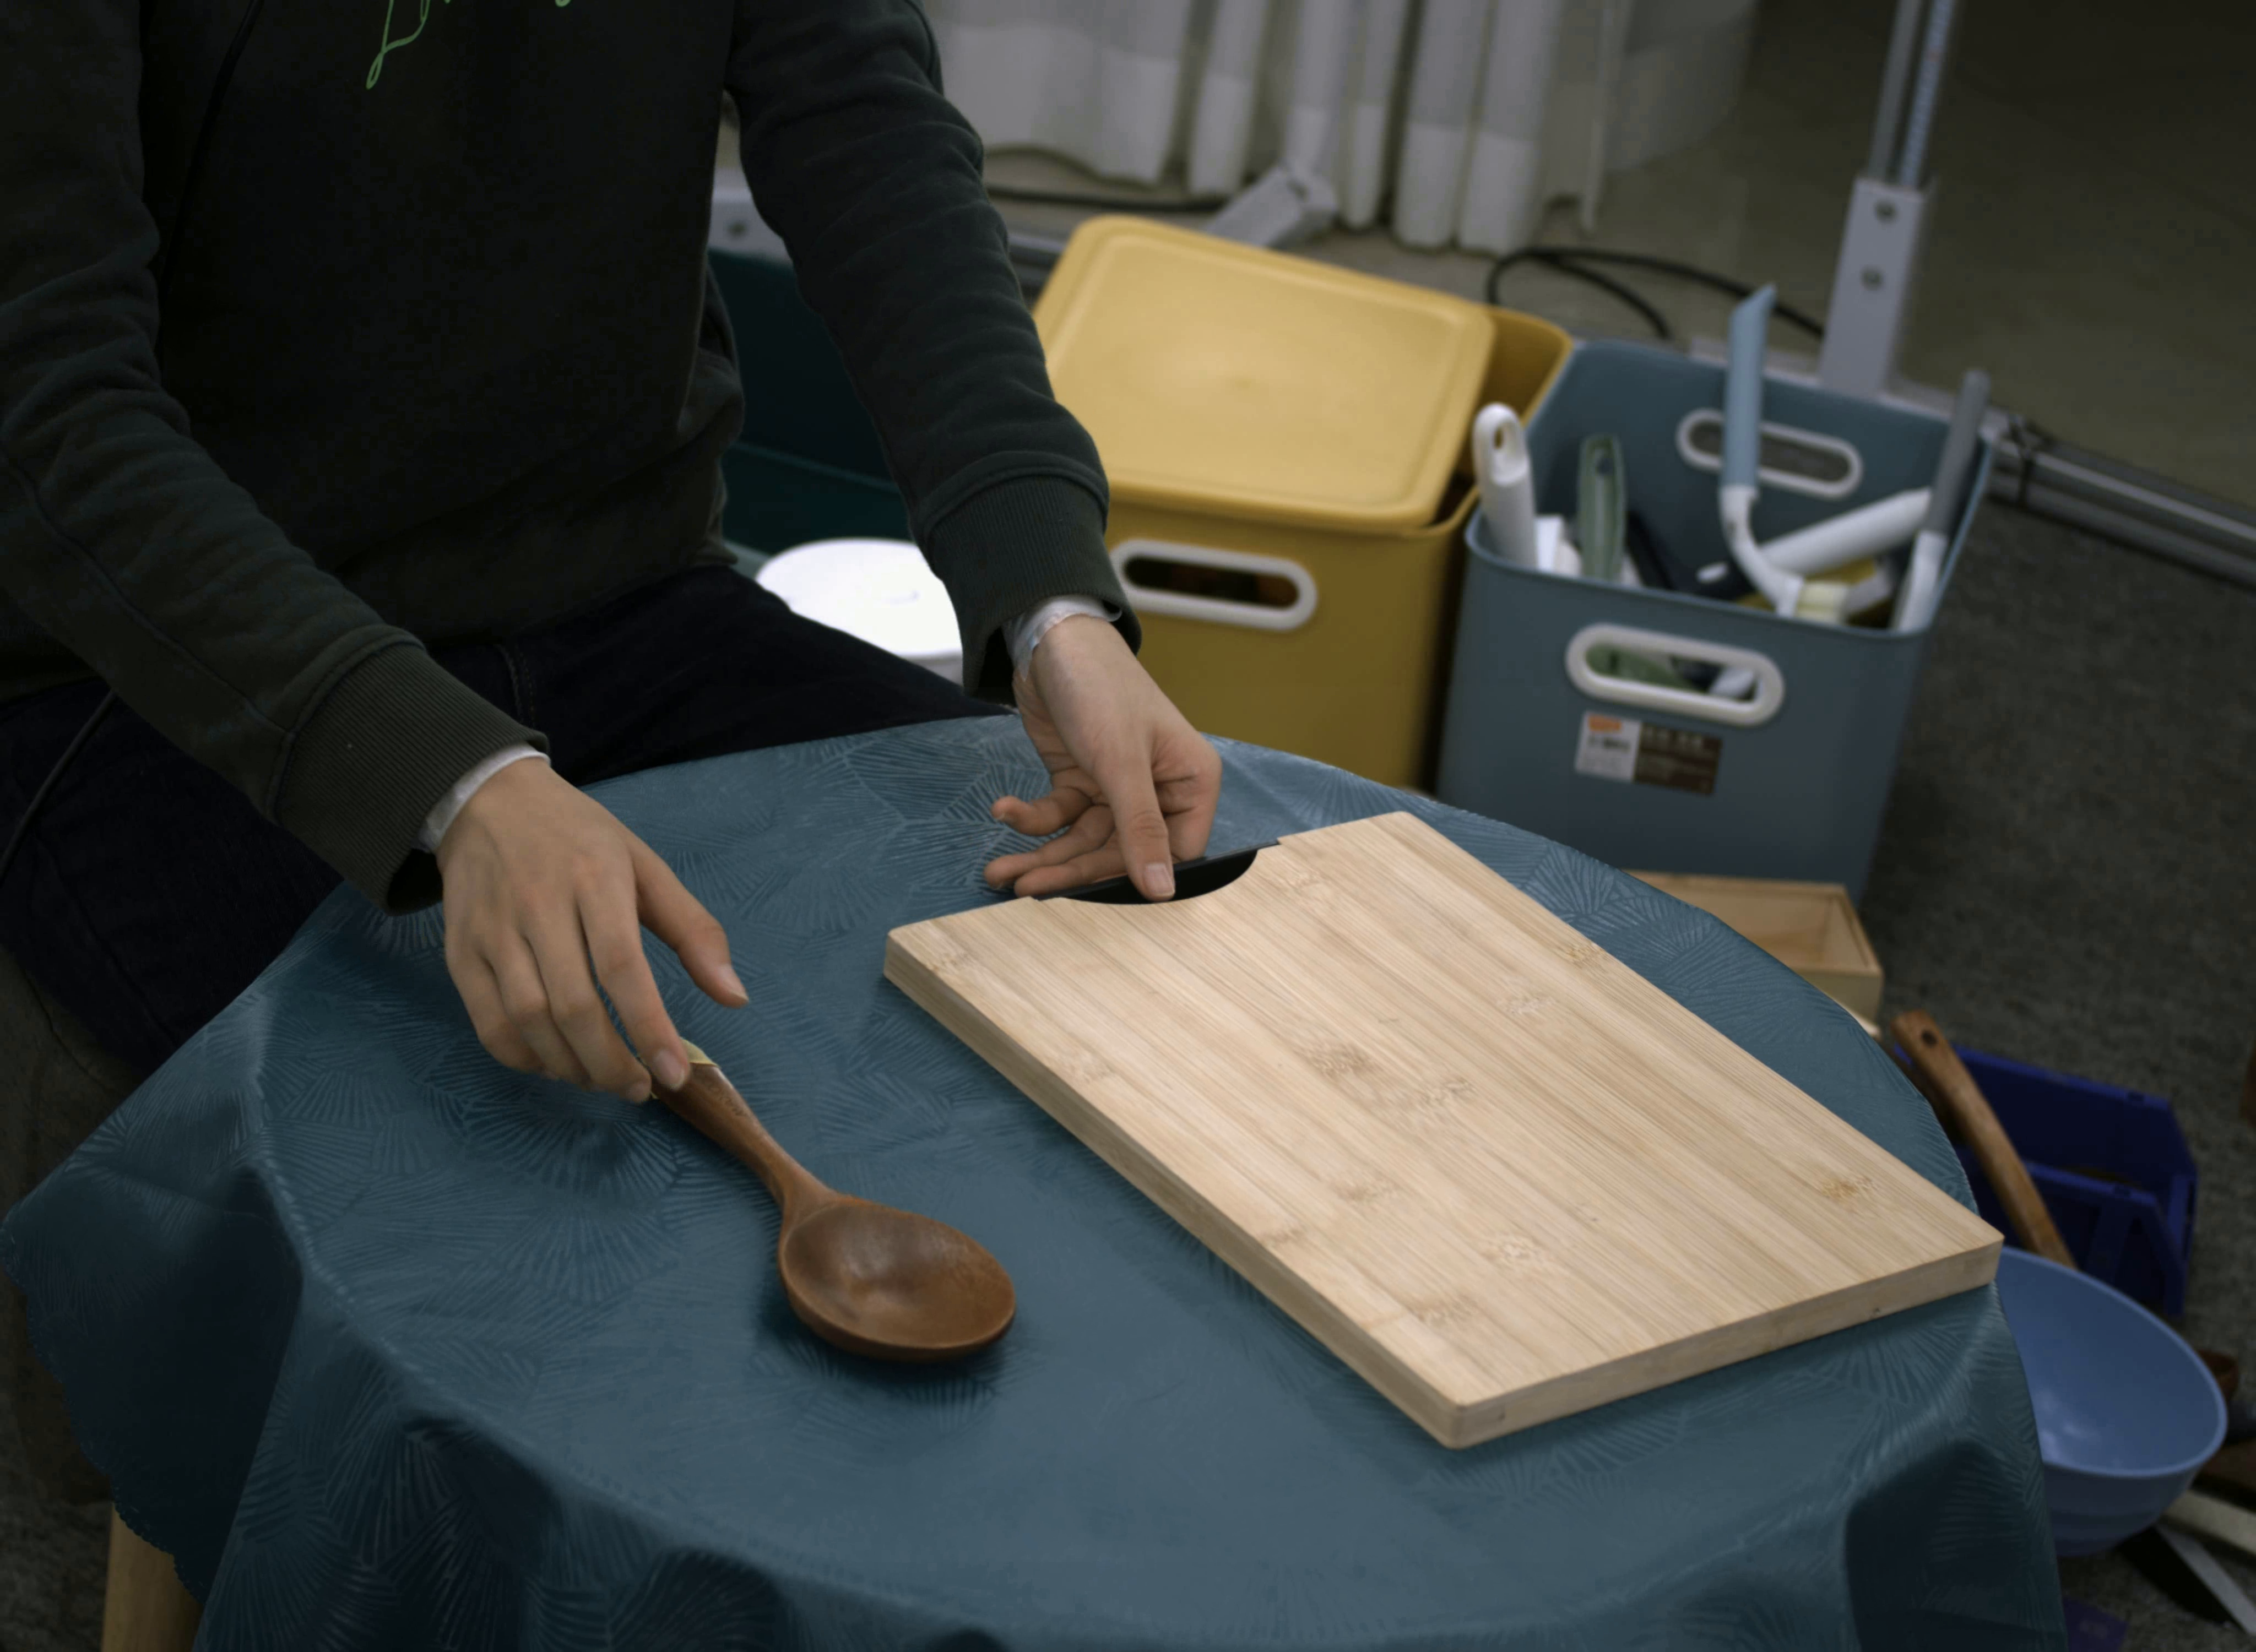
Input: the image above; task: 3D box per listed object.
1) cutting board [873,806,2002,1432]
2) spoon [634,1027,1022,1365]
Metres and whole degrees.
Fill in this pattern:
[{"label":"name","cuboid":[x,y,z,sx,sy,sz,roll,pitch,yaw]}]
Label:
[{"label":"cutting board","cuboid":[0.102,0.094,1.864,0.249,0.023,0.352,-12,32,-34]},{"label":"spoon","cuboid":[-0.107,0.122,1.759,0.075,0.017,0.218,-12,33,-29]}]
